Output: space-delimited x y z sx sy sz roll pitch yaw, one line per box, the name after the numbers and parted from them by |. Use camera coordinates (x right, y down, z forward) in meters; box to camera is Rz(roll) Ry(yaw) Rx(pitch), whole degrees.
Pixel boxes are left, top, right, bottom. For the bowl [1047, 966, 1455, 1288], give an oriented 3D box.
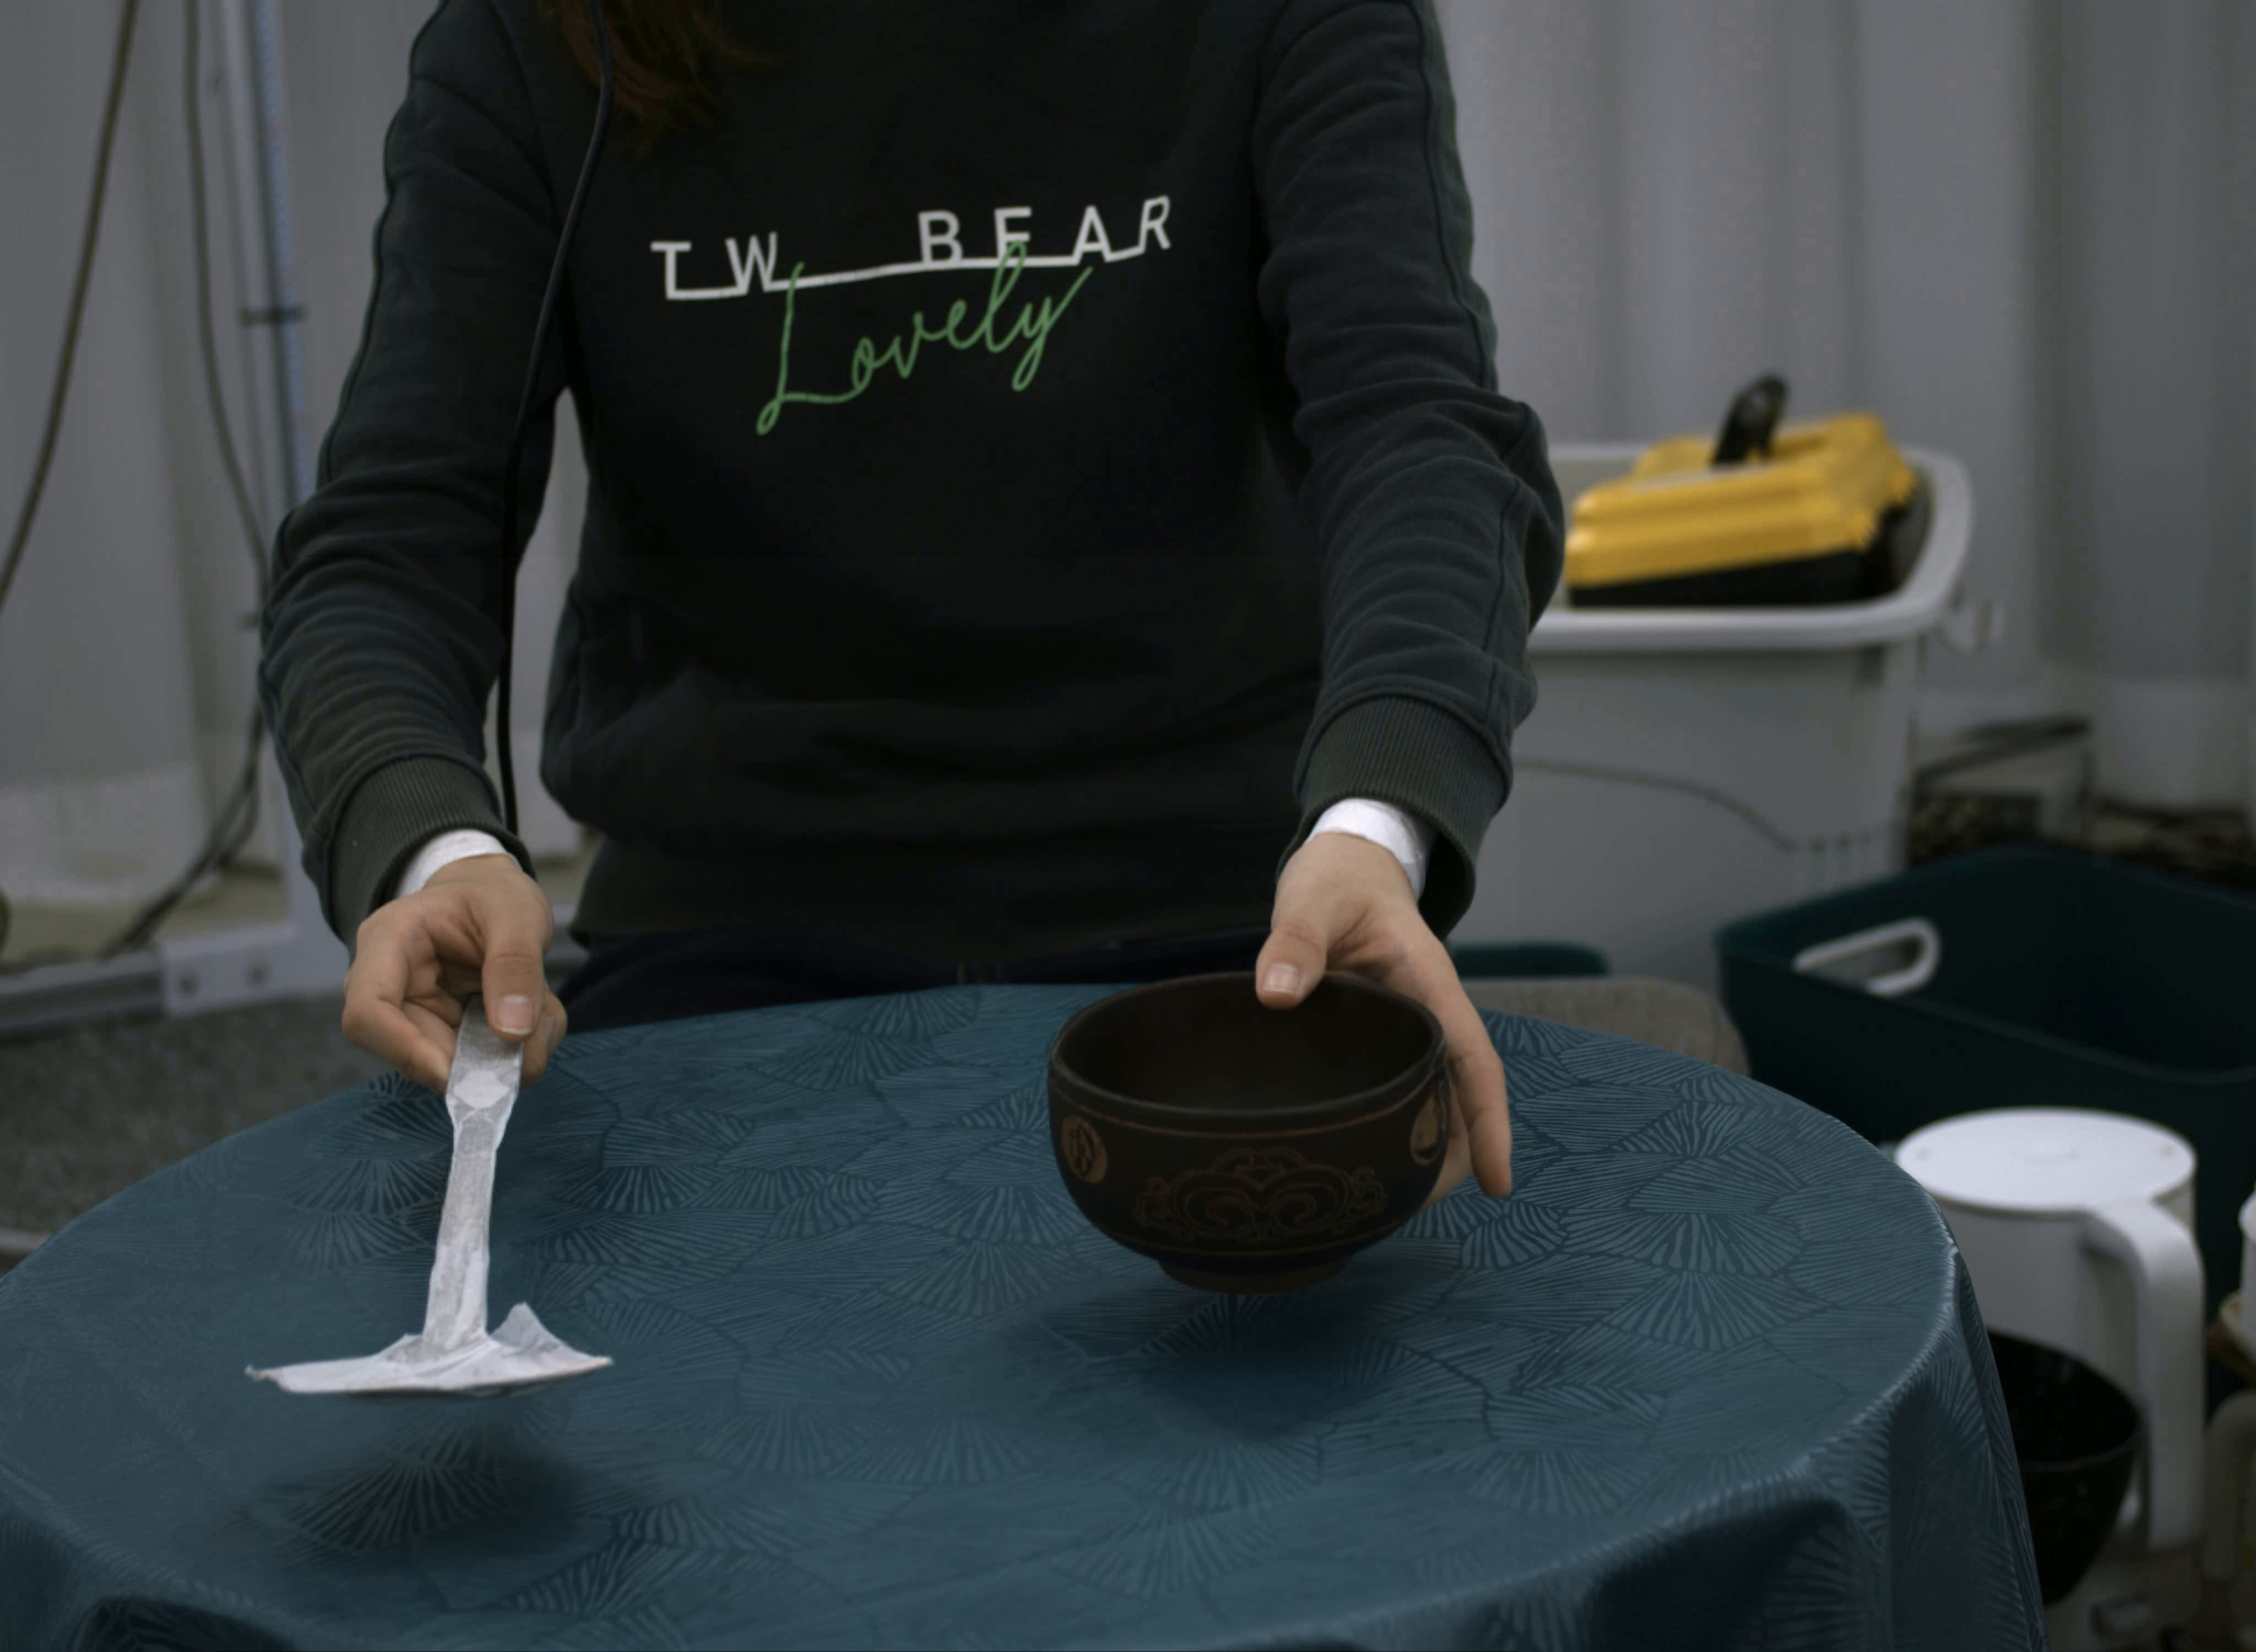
0.036 0.091 1.583 0.117 0.069 0.119 -1 17 0 | bowl

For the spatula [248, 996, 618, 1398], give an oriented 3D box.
-0.189 0.101 1.603 0.098 0.044 0.368 -3 20 -1 | spatula
